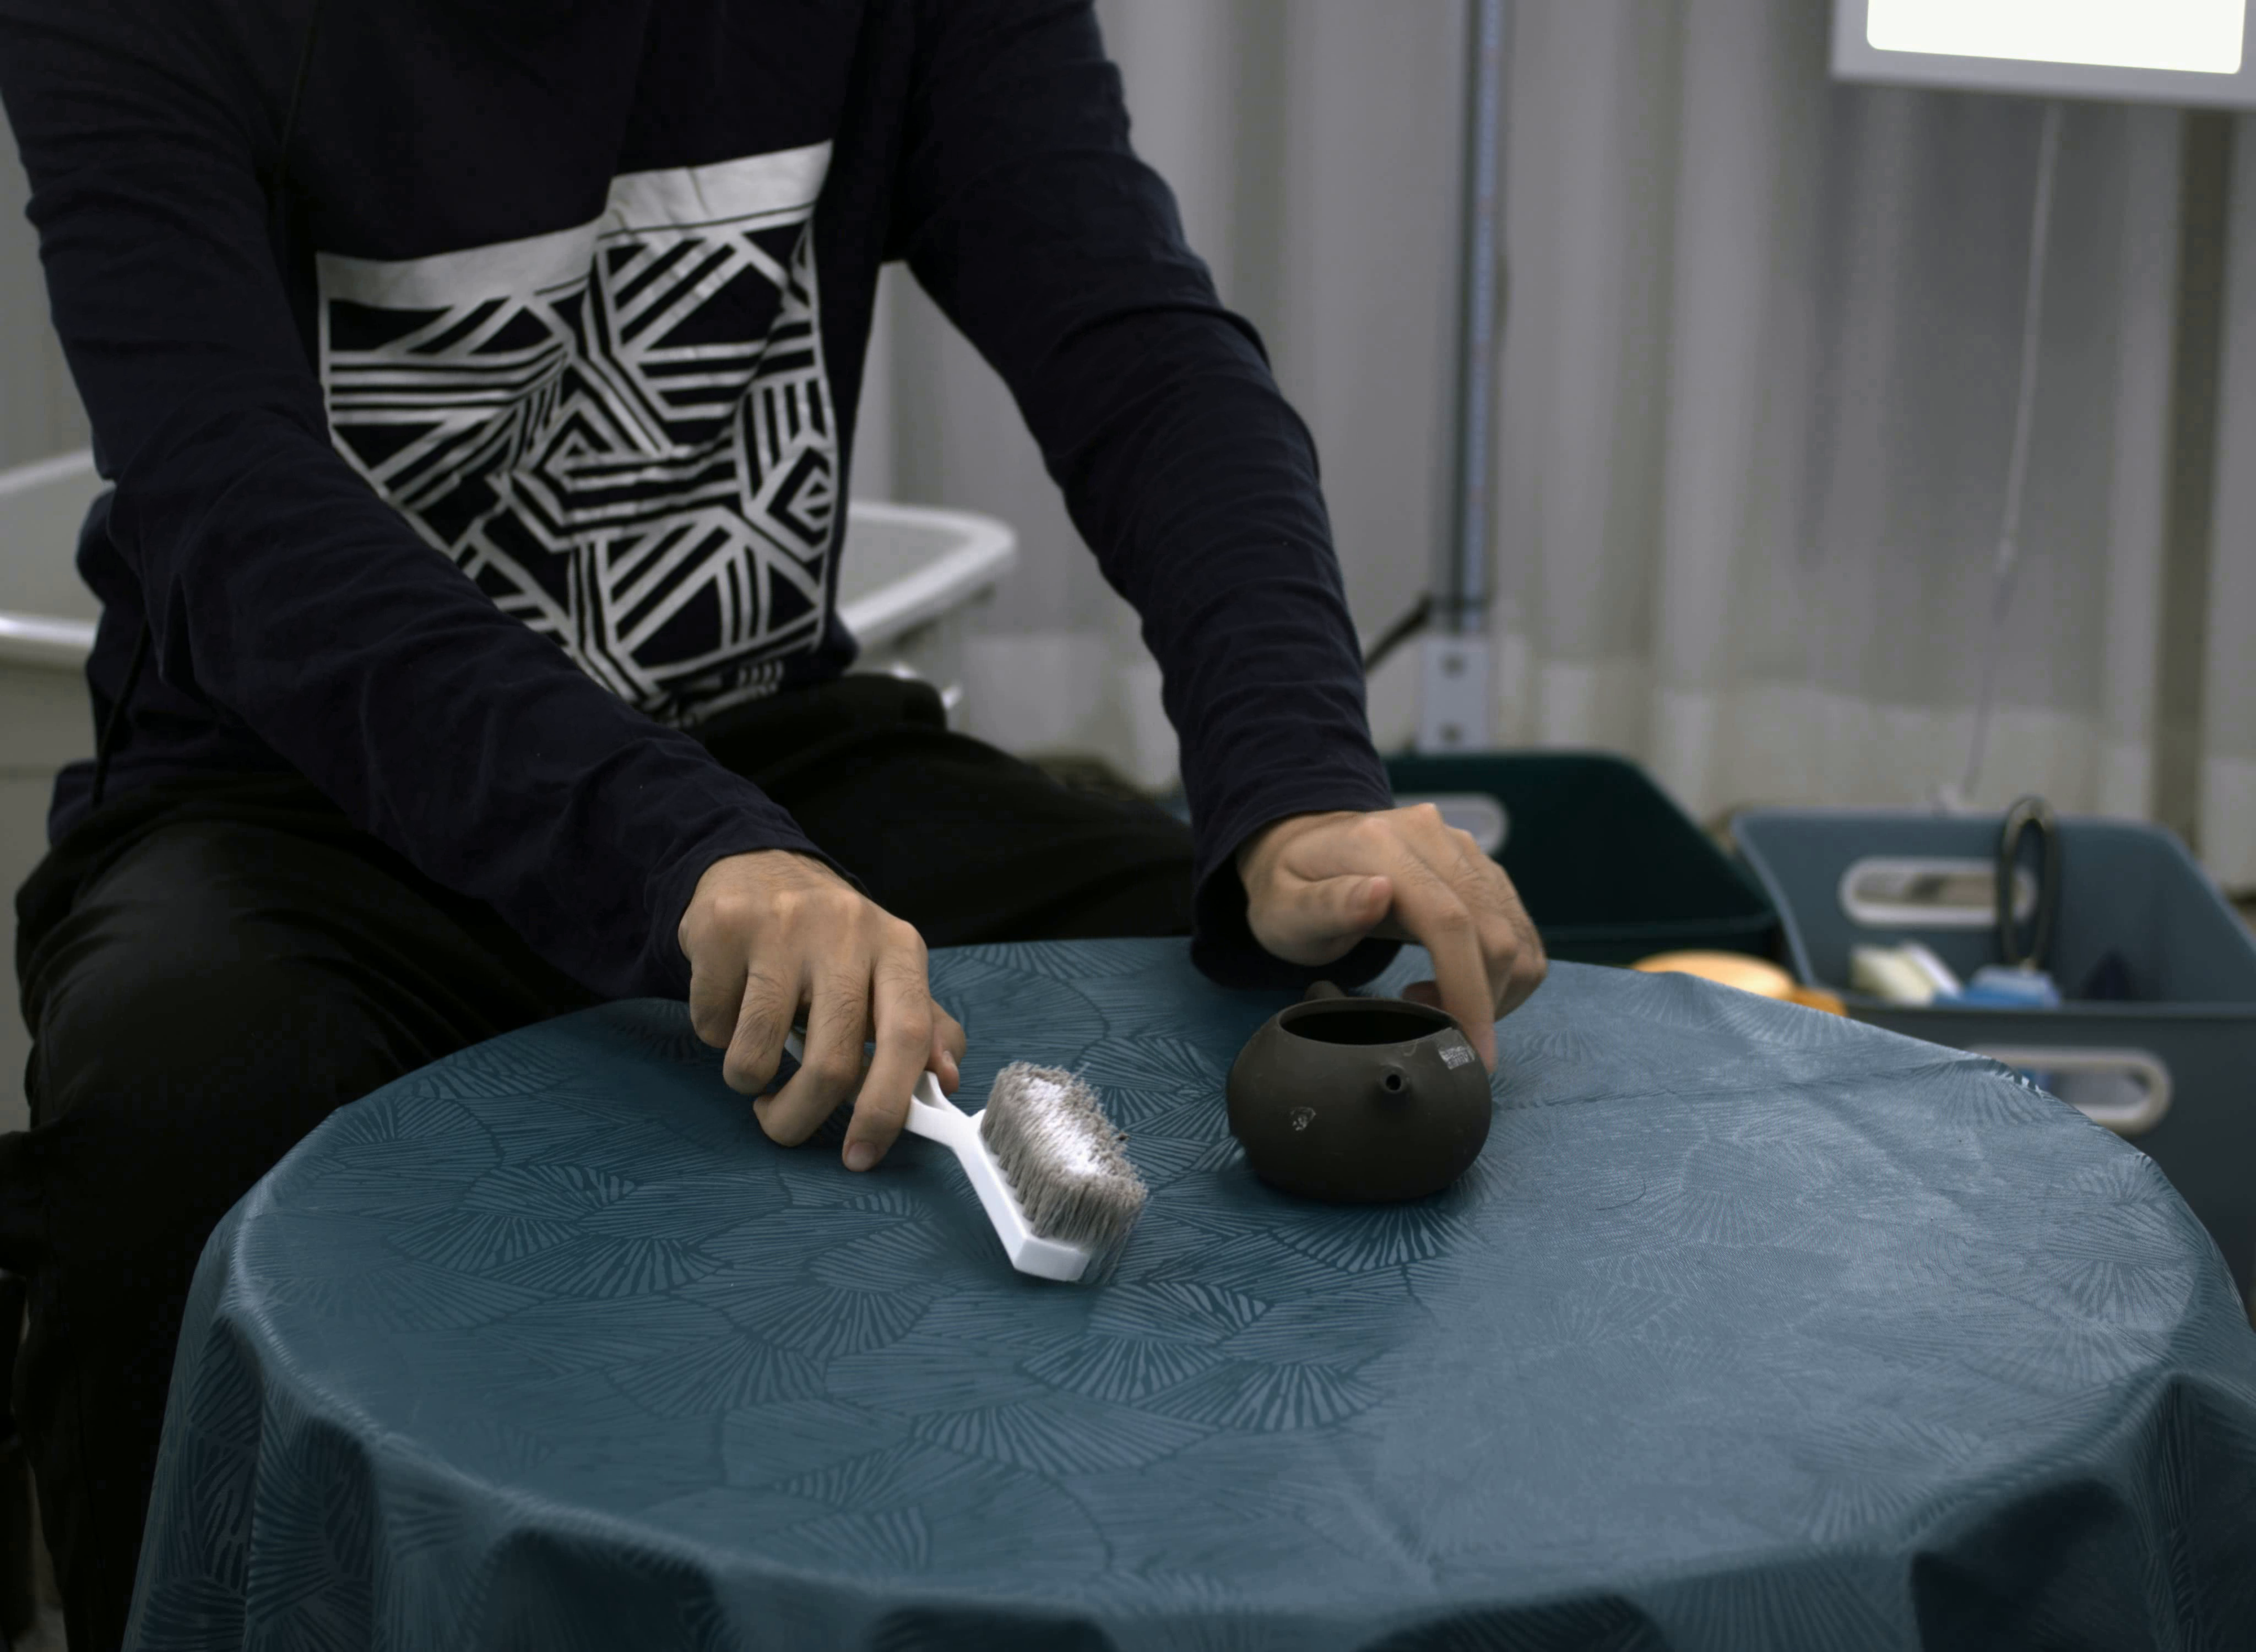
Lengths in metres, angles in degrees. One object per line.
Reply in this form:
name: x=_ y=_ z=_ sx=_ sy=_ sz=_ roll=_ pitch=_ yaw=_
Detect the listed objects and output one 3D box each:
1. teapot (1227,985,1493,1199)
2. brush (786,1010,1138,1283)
teapot: x=0.070 y=0.081 z=1.647 sx=0.083 sy=0.053 sz=0.113 roll=-3 pitch=16 yaw=-10
brush: x=-0.056 y=0.079 z=1.631 sx=0.034 sy=0.050 sz=0.241 roll=6 pitch=14 yaw=-24
